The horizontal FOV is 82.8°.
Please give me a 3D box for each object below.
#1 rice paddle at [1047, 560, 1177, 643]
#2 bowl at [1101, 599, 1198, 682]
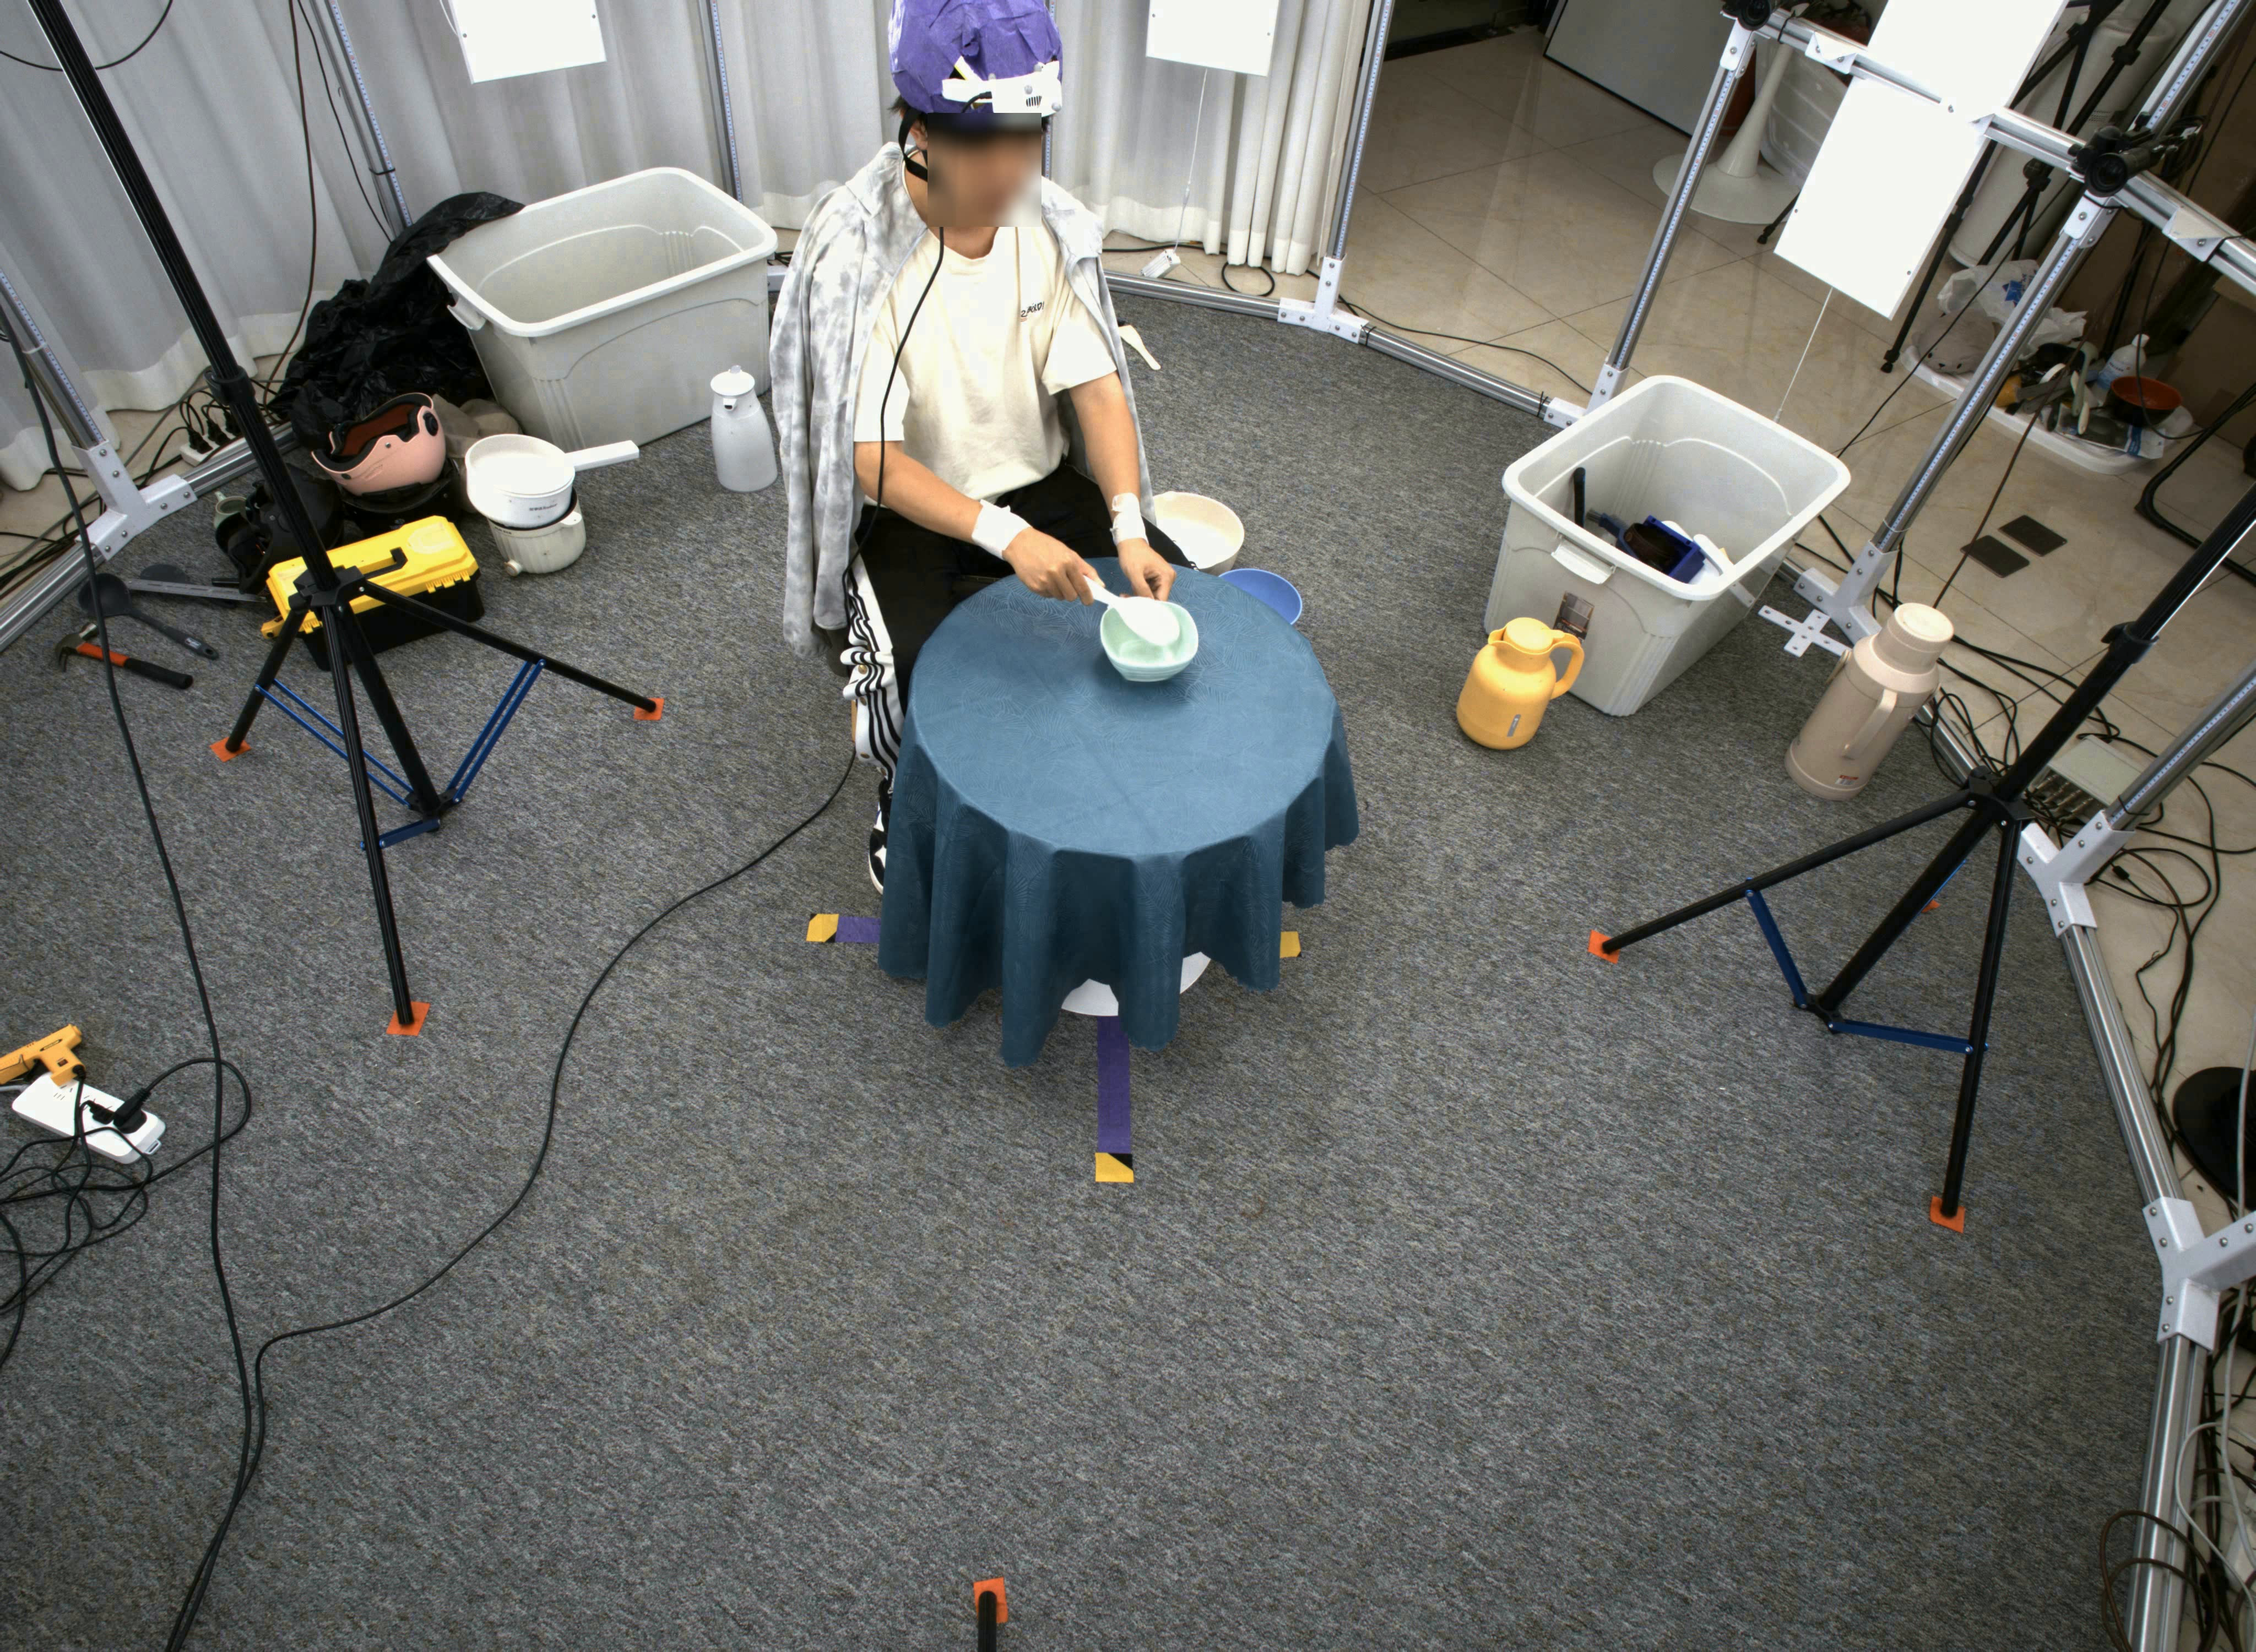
[{"bbox_3d":[-0.017,-0.319,1.825,0.203,0.029,0.070,24,61,-15],"label":"rice paddle"},{"bbox_3d":[0.029,-0.259,1.852,0.151,0.057,0.155,1,51,-2],"label":"bowl"}]
